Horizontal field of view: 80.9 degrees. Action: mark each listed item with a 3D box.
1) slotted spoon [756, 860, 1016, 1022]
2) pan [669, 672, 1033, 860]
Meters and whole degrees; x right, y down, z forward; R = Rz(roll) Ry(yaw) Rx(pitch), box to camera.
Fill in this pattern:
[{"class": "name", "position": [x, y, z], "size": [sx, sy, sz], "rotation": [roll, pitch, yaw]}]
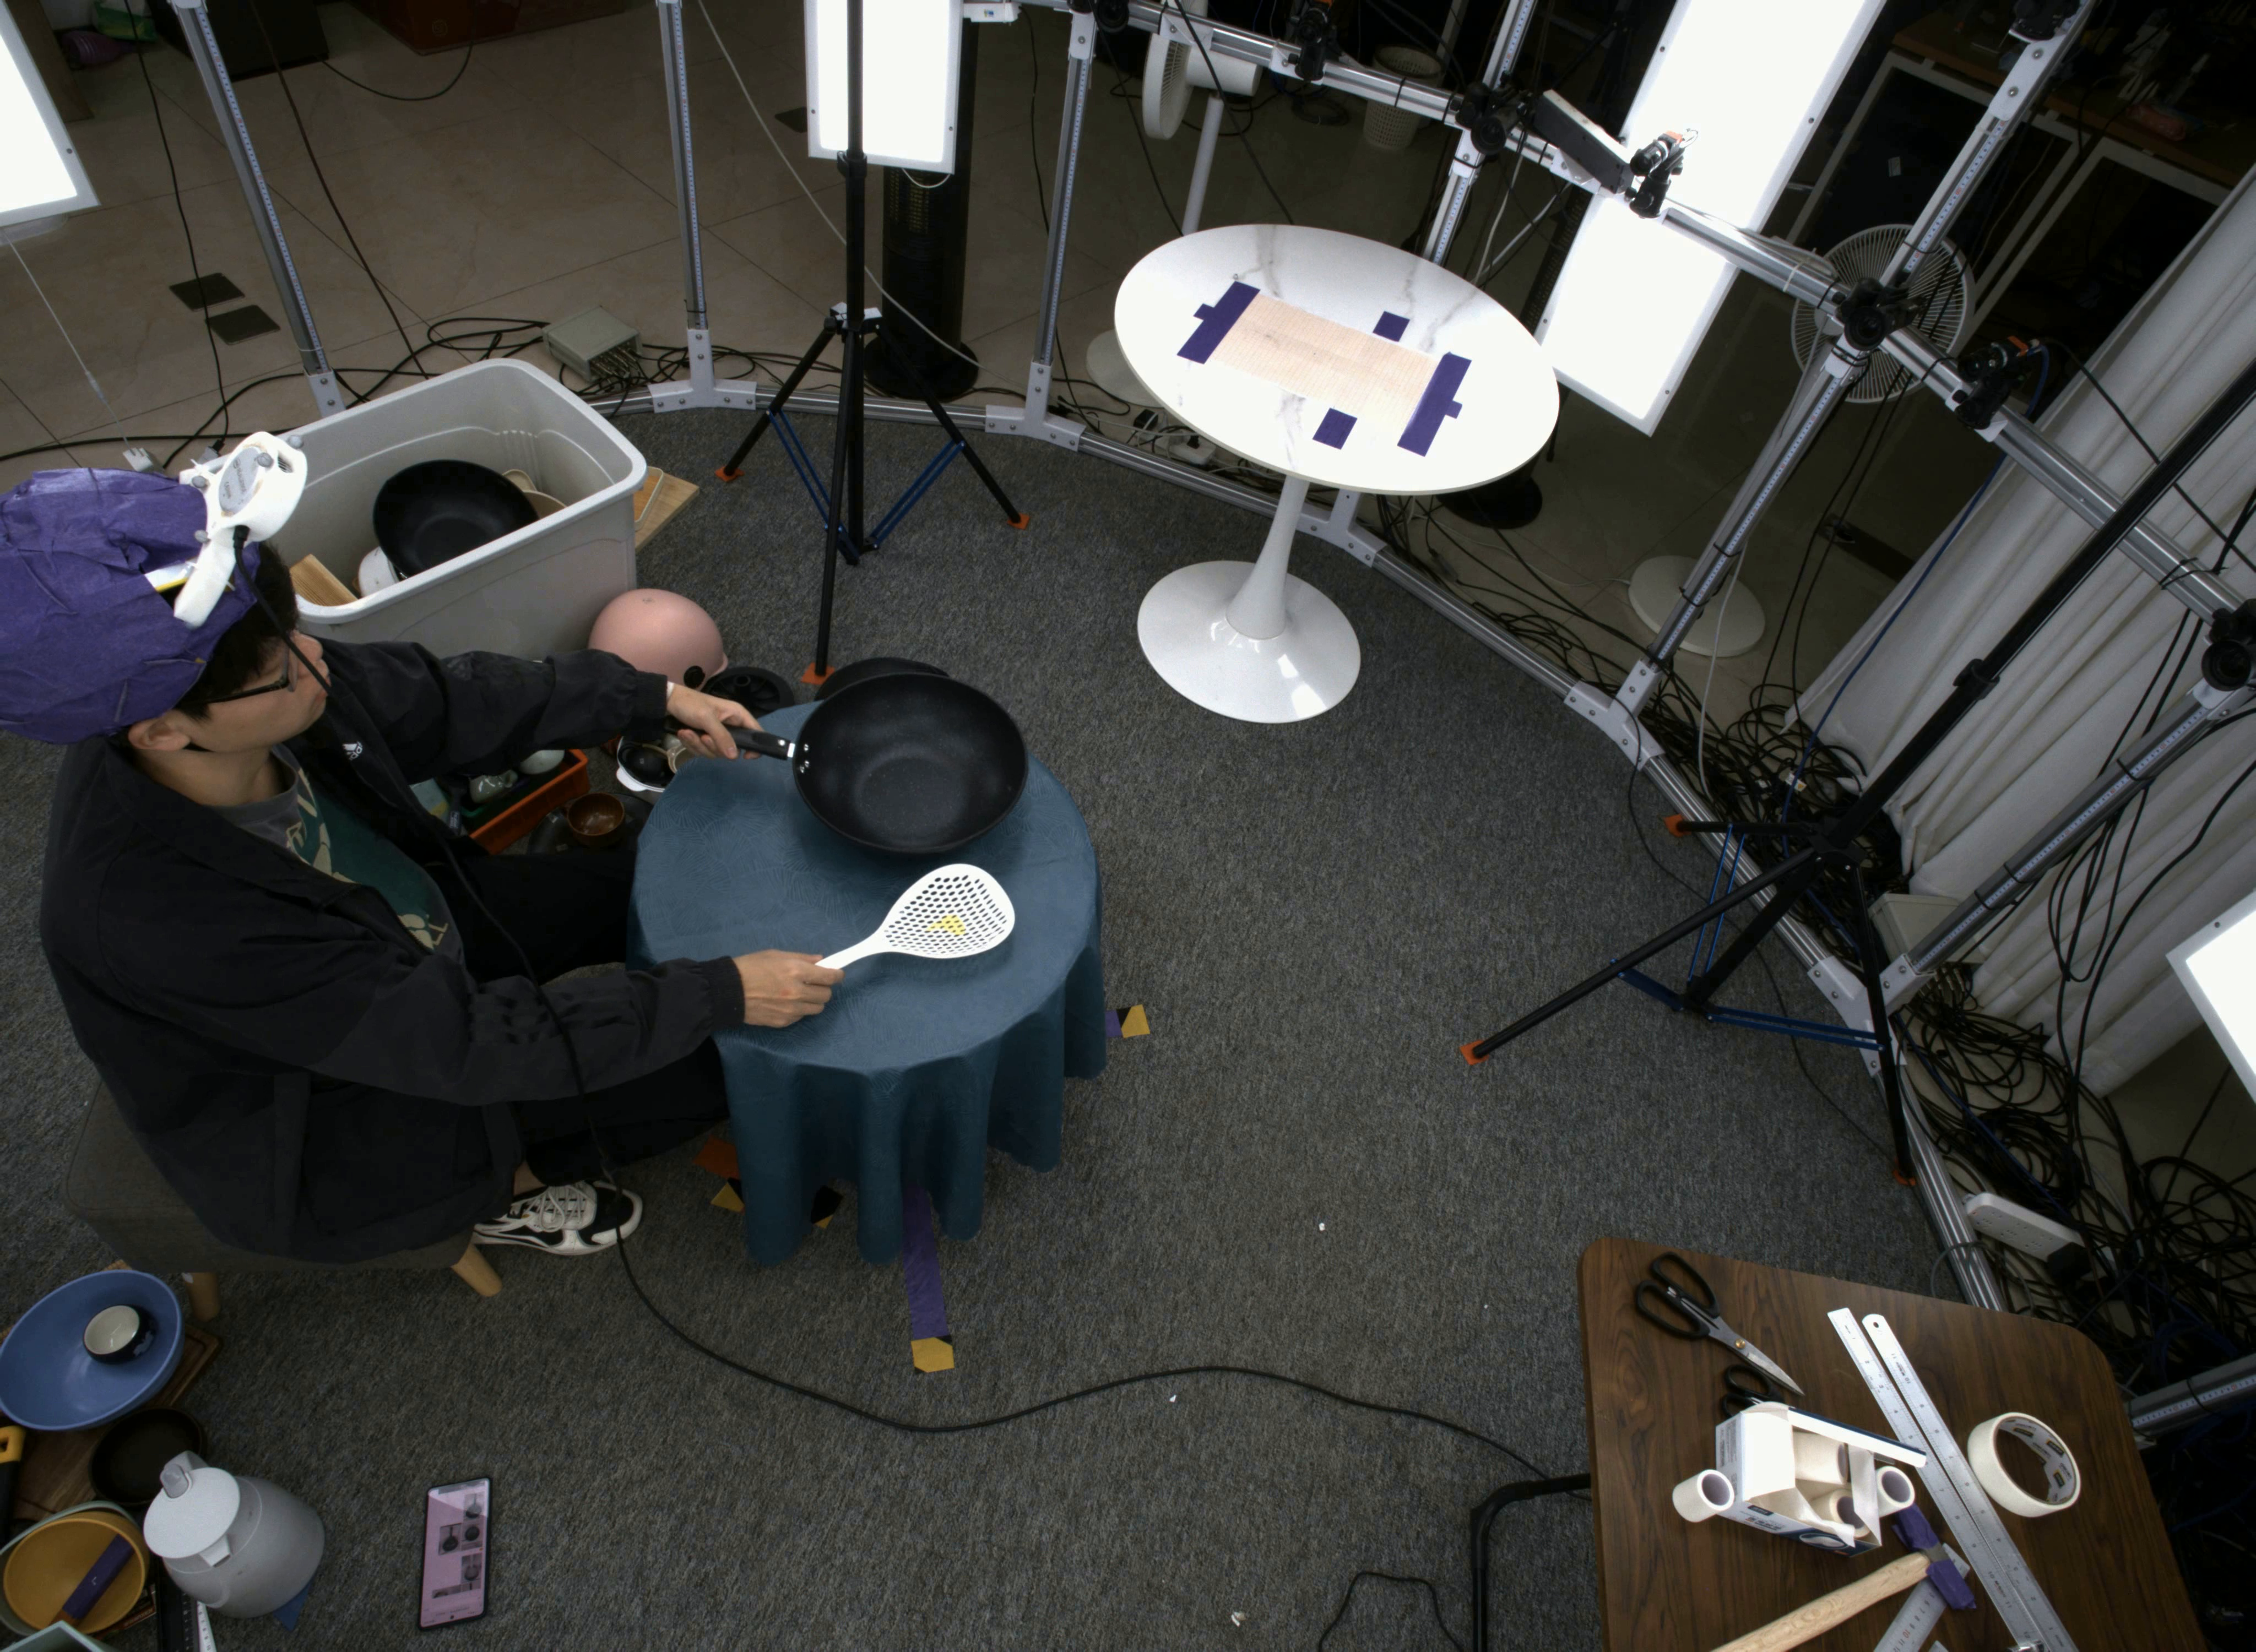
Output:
[{"class": "slotted spoon", "position": [-0.300, 0.148, 1.606], "size": [0.350, 0.051, 0.134], "rotation": [-22, 66, -33]}, {"class": "pan", "position": [-0.366, -0.081, 1.732], "size": [0.475, 0.114, 0.304], "rotation": [5, 52, -8]}]
